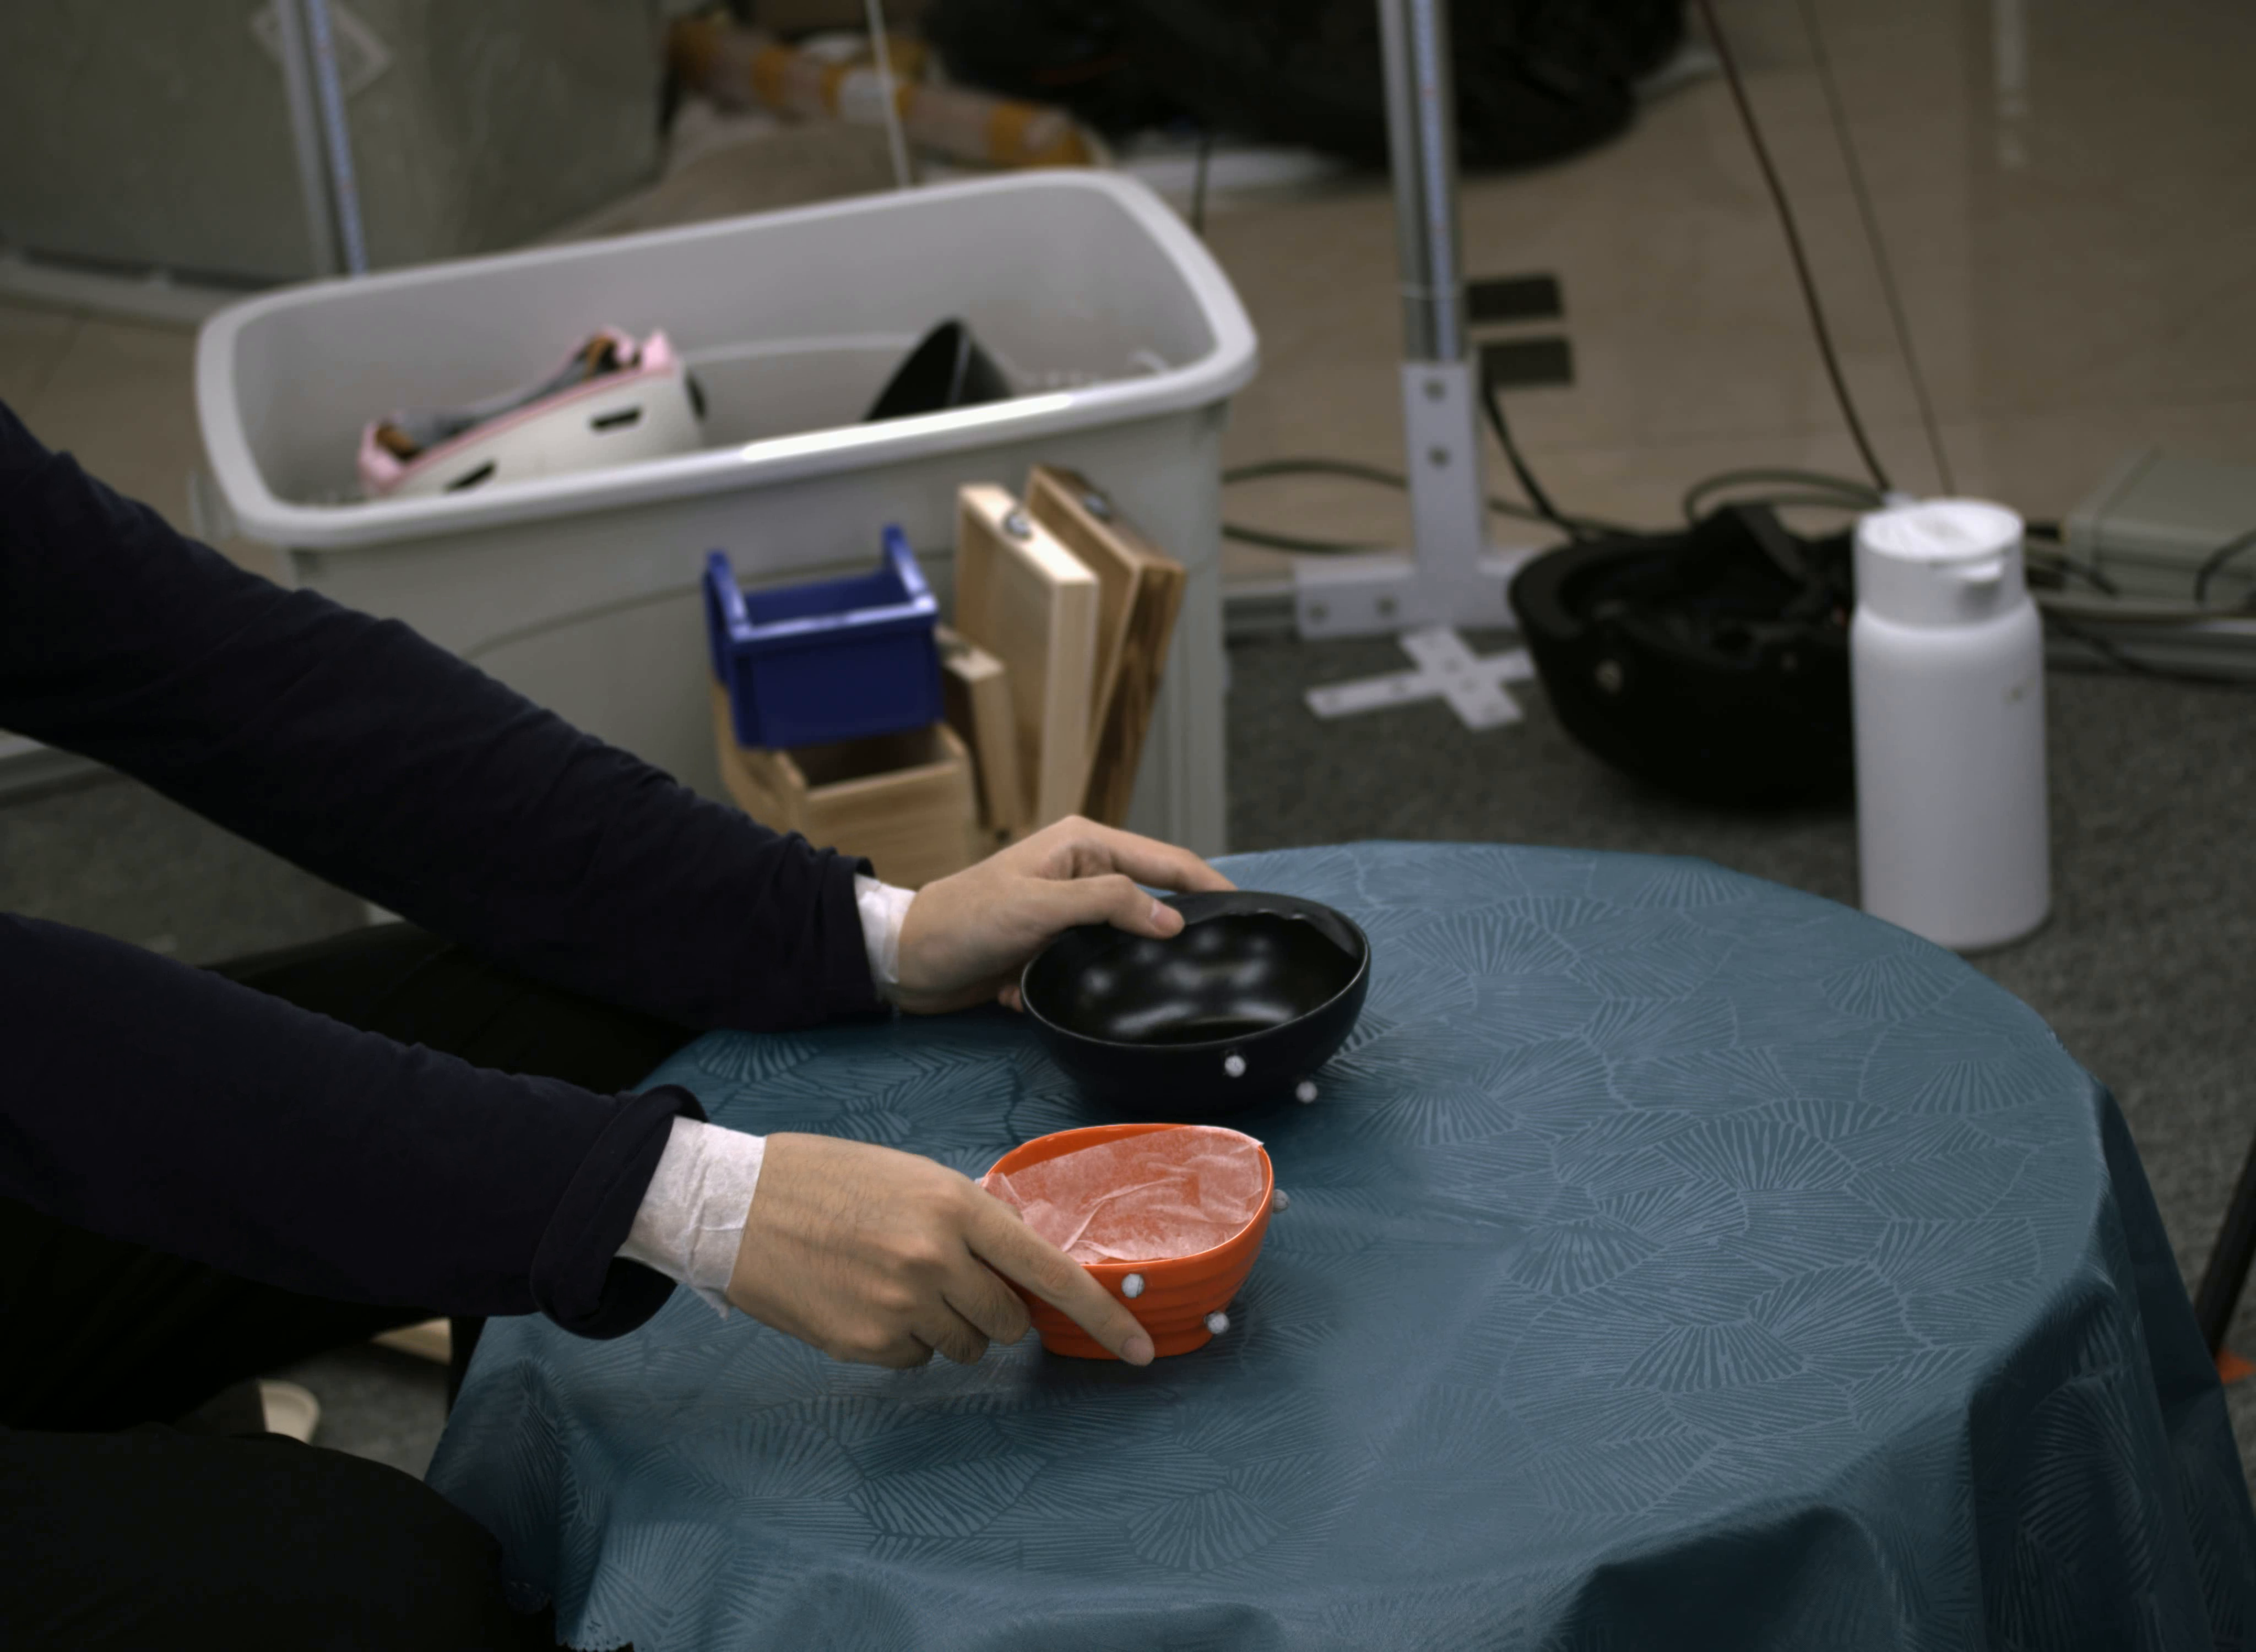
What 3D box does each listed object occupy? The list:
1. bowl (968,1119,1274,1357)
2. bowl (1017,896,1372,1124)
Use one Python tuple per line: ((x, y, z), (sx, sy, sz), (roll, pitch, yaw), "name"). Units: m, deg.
((-0.001, 0.154, 2.056), (0.119, 0.052, 0.117), (-4, 26, 2), "bowl")
((0.029, 0.079, 2.221), (0.140, 0.050, 0.138), (-9, 24, 4), "bowl")
